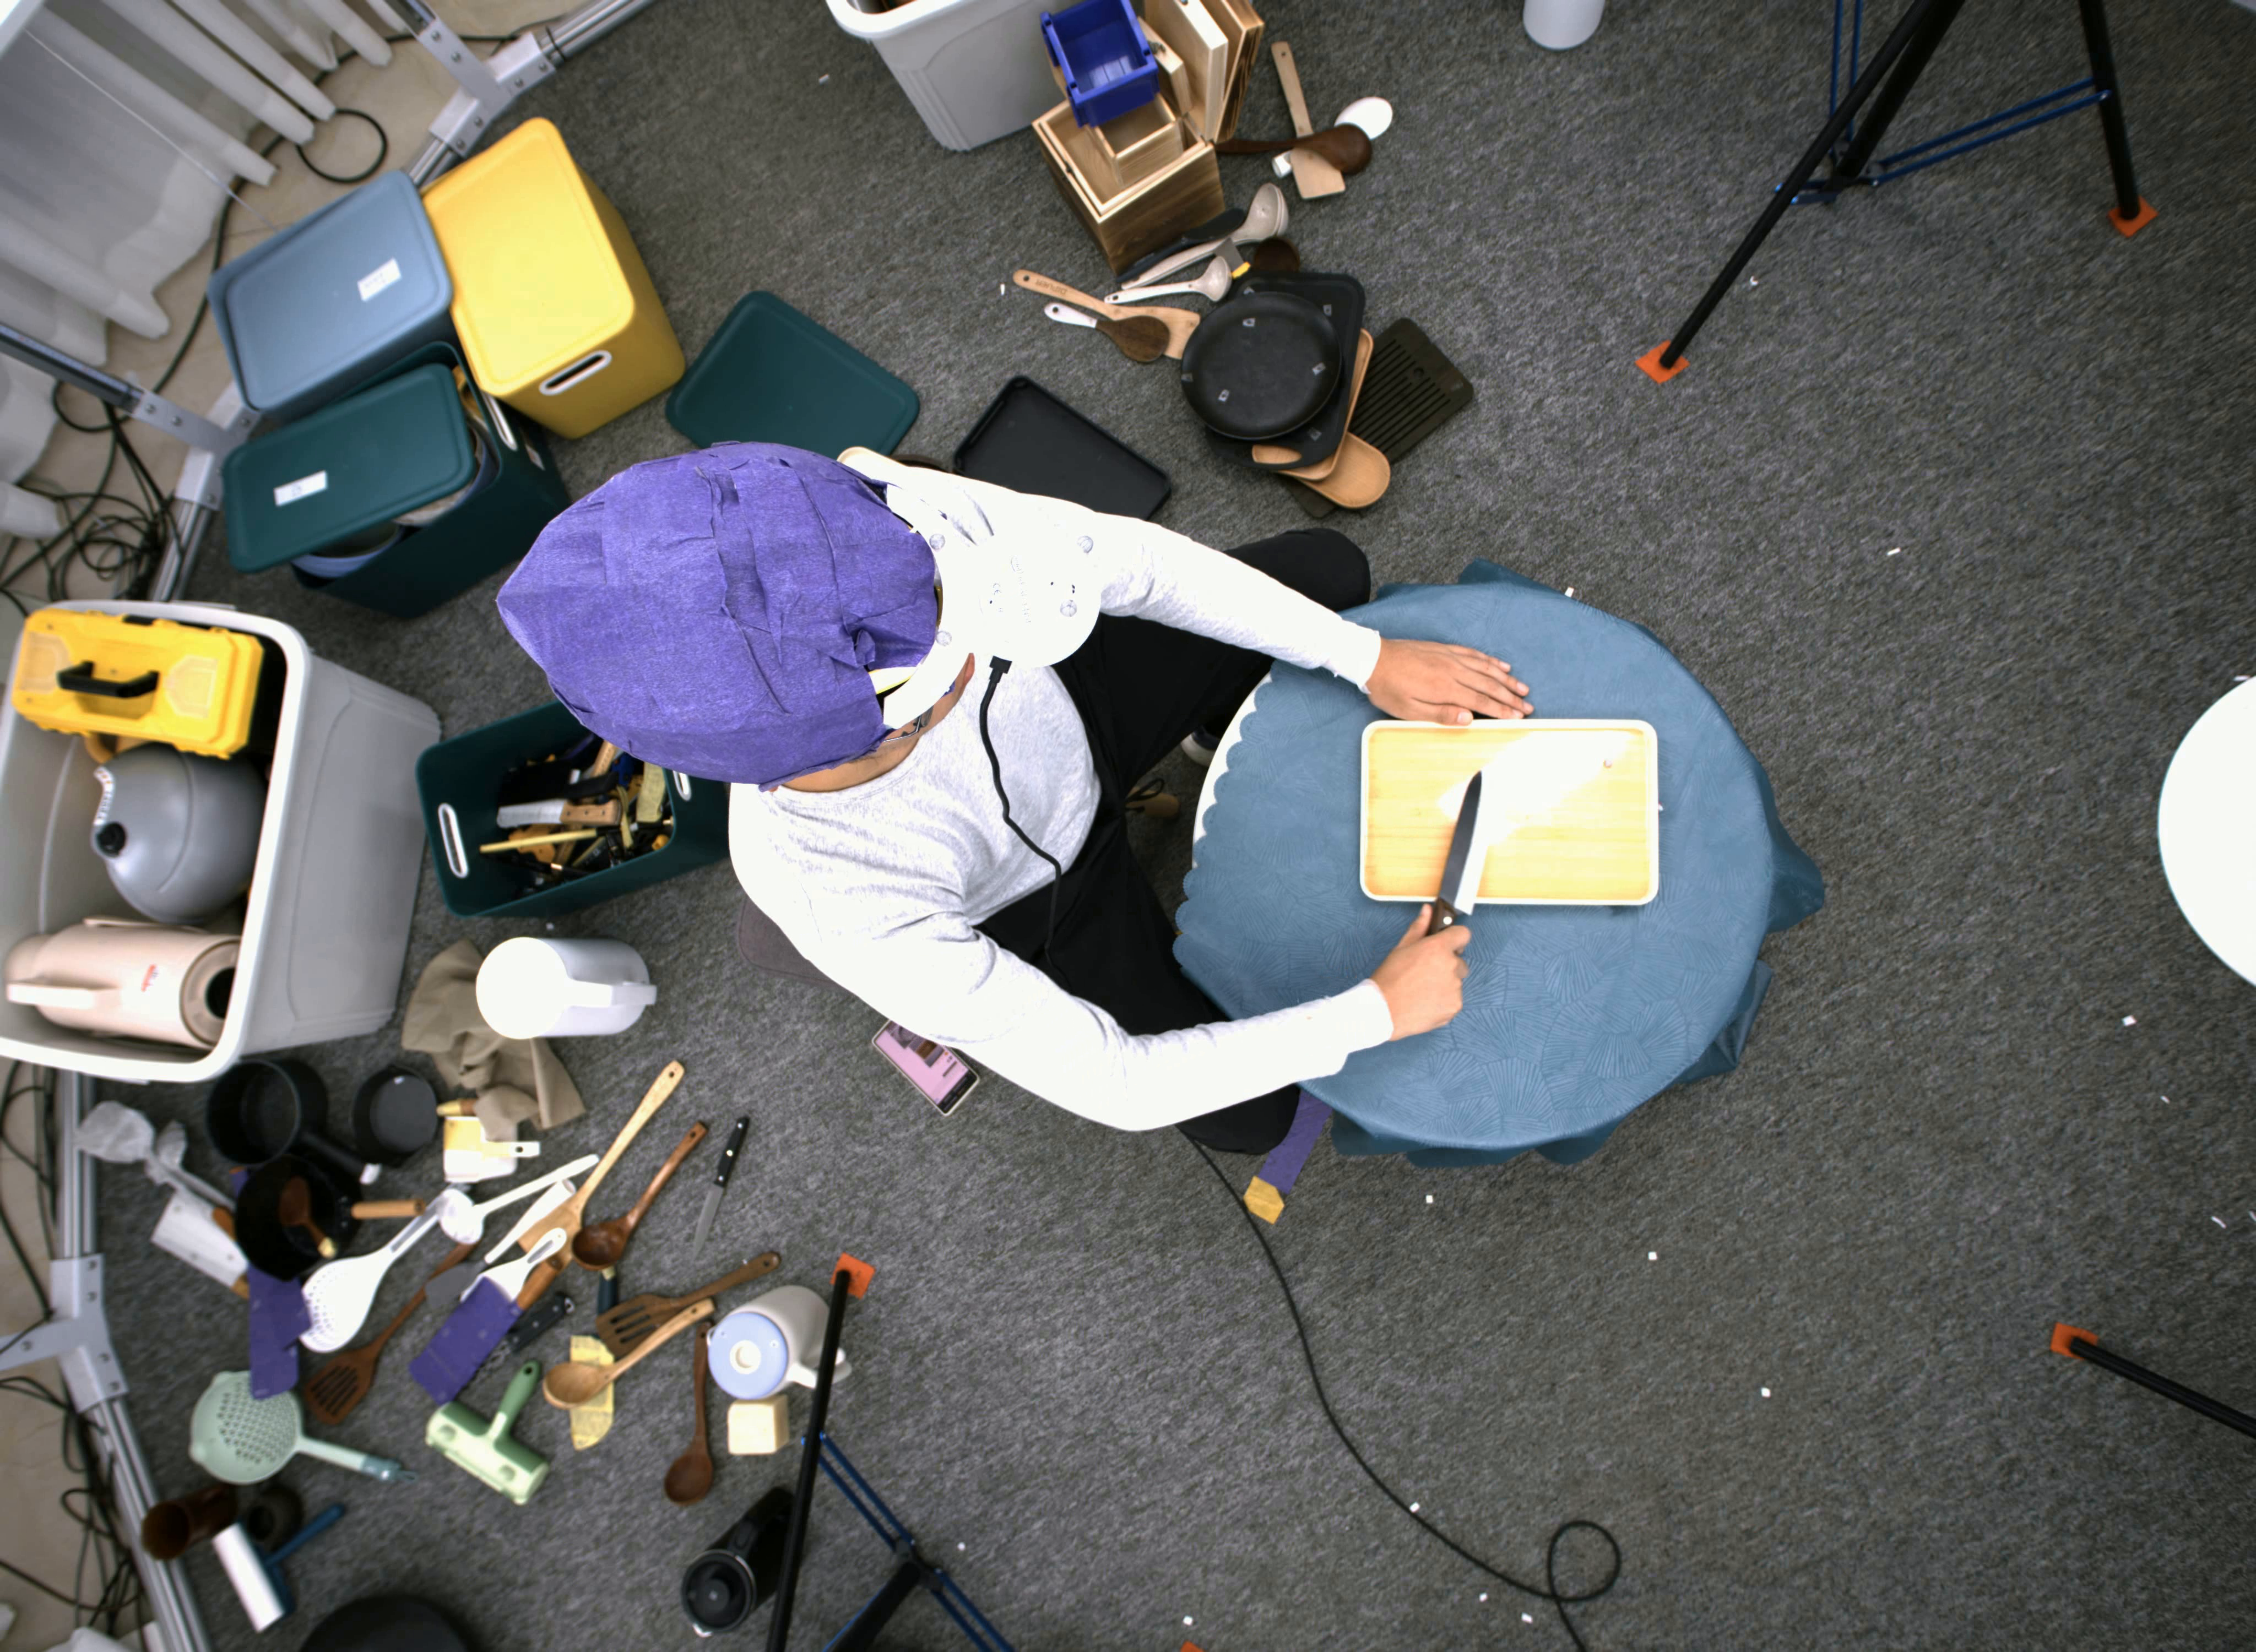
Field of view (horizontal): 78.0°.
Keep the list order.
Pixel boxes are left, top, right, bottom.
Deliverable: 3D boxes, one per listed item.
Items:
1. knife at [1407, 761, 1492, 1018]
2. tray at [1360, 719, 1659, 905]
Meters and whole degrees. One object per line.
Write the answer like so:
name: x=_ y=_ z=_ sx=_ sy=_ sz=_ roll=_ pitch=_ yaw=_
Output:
knife: x=0.332 y=0.060 z=1.407 sx=0.050 sy=0.020 sz=0.285 roll=25 pitch=76 yaw=-23
tray: x=0.394 y=-0.018 z=1.428 sx=0.301 sy=0.027 sz=0.191 roll=1 pitch=87 yaw=11
